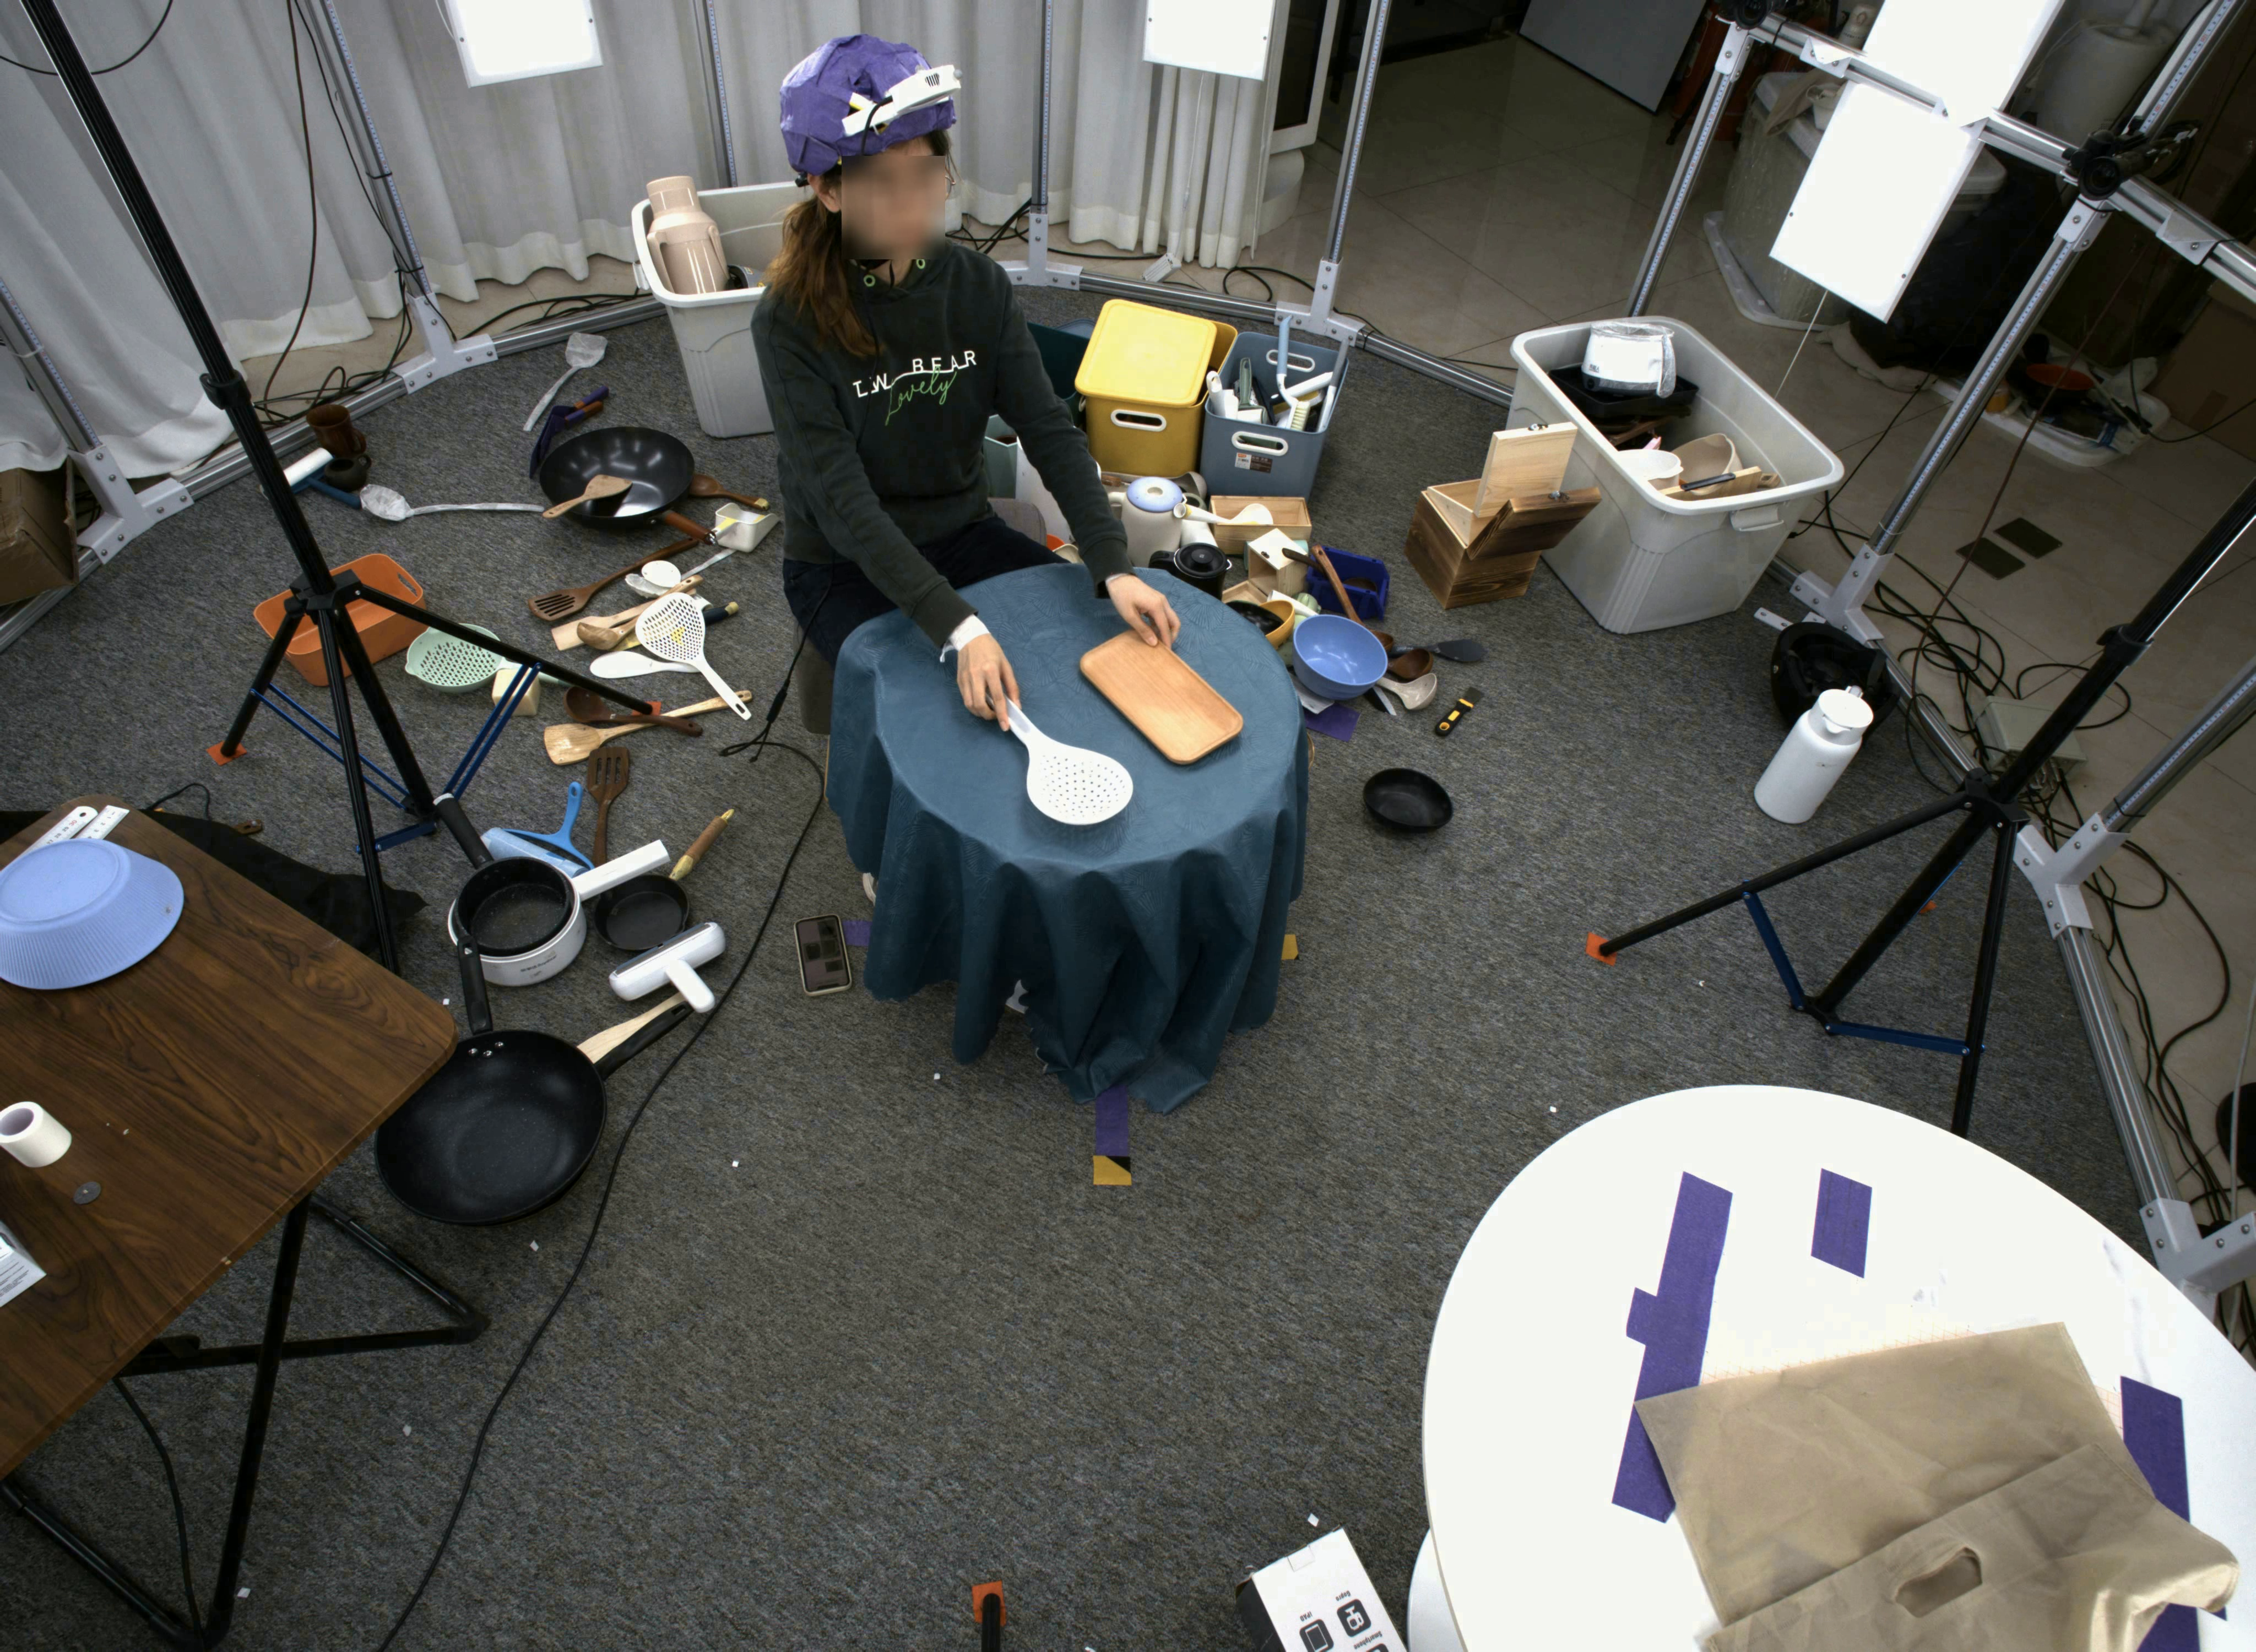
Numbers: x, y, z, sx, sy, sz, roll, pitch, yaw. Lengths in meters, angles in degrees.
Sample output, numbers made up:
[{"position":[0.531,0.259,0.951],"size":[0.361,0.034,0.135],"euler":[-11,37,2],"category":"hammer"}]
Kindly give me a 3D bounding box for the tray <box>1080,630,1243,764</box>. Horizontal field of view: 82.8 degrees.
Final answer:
[{"position":[0.045,-0.187,1.832],"size":[0.131,0.022,0.255],"euler":[-29,56,-22],"category":"tray"}]

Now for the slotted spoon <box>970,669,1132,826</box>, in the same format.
[{"position":[-0.122,-0.112,1.742],"size":[0.136,0.044,0.357],"euler":[-22,53,-25],"category":"slotted spoon"}]
